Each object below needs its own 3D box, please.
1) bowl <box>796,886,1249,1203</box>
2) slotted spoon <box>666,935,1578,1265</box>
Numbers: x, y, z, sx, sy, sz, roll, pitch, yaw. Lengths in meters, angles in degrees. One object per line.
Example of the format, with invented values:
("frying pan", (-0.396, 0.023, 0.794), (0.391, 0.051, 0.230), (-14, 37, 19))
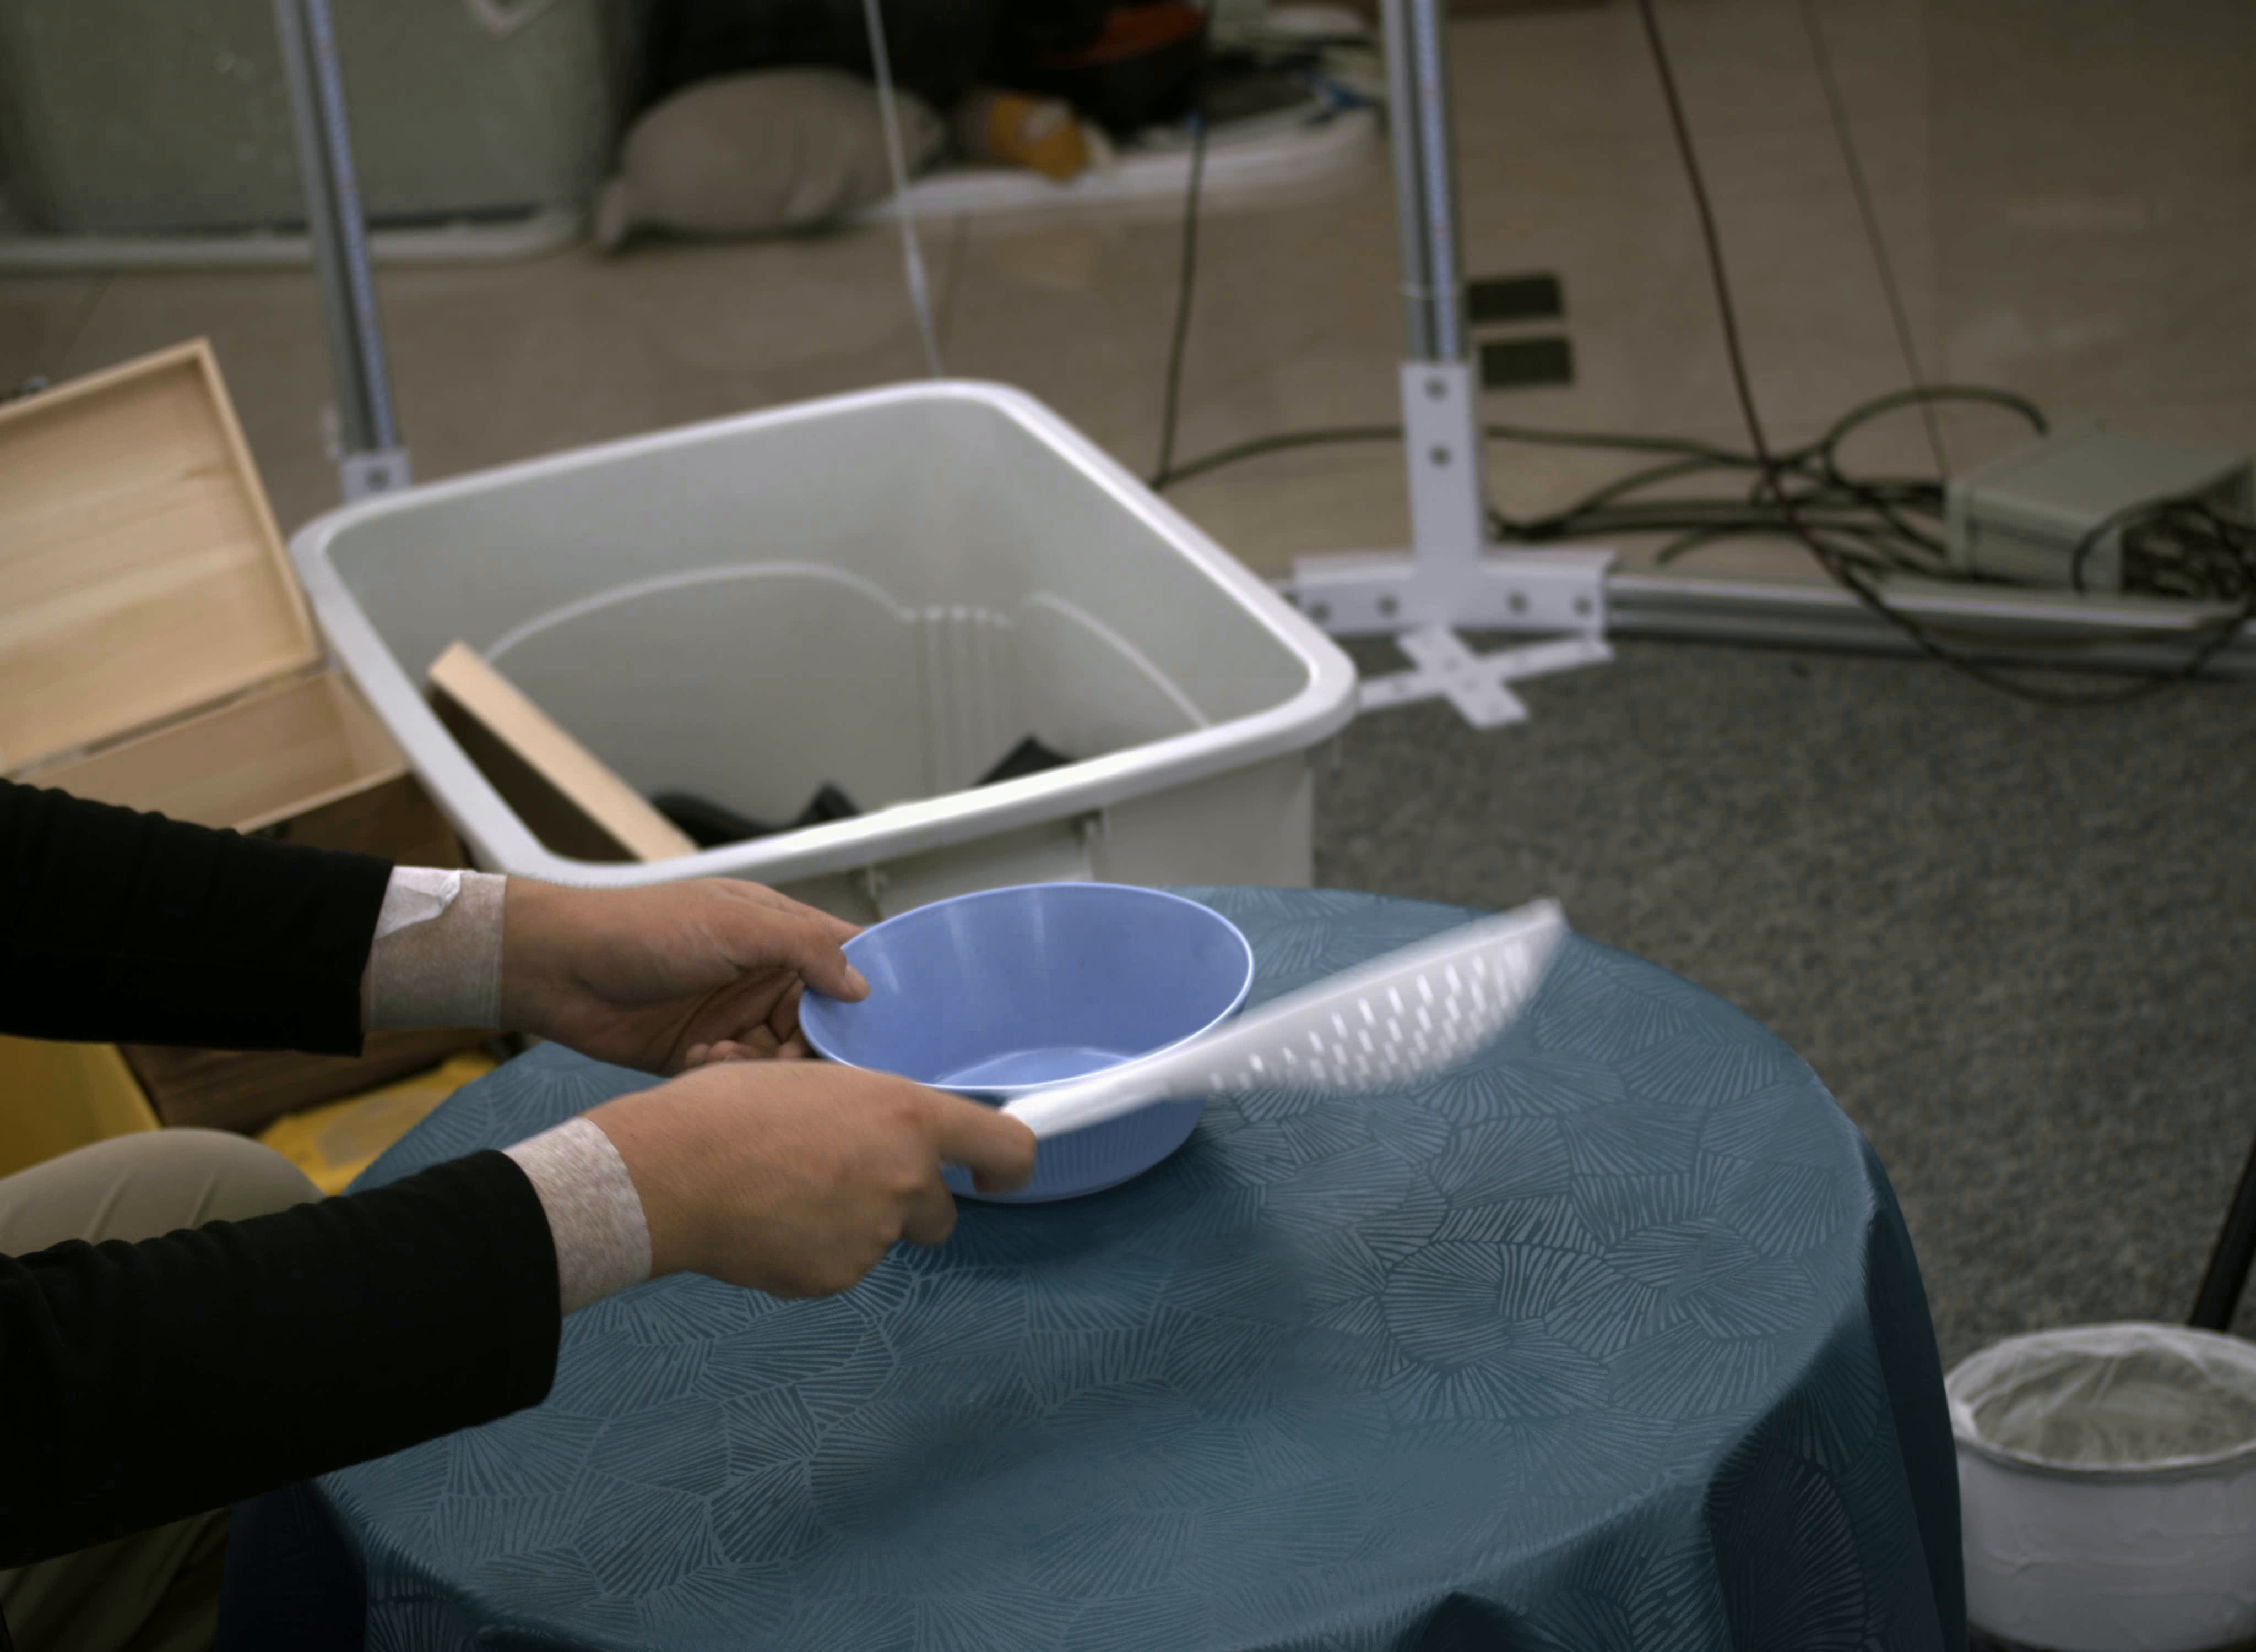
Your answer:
("bowl", (-0.037, 0.090, 2.180), (0.176, 0.071, 0.173), (-6, 25, 3))
("slotted spoon", (0.002, 0.097, 2.006), (0.348, 0.045, 0.136), (-12, -5, -19))
